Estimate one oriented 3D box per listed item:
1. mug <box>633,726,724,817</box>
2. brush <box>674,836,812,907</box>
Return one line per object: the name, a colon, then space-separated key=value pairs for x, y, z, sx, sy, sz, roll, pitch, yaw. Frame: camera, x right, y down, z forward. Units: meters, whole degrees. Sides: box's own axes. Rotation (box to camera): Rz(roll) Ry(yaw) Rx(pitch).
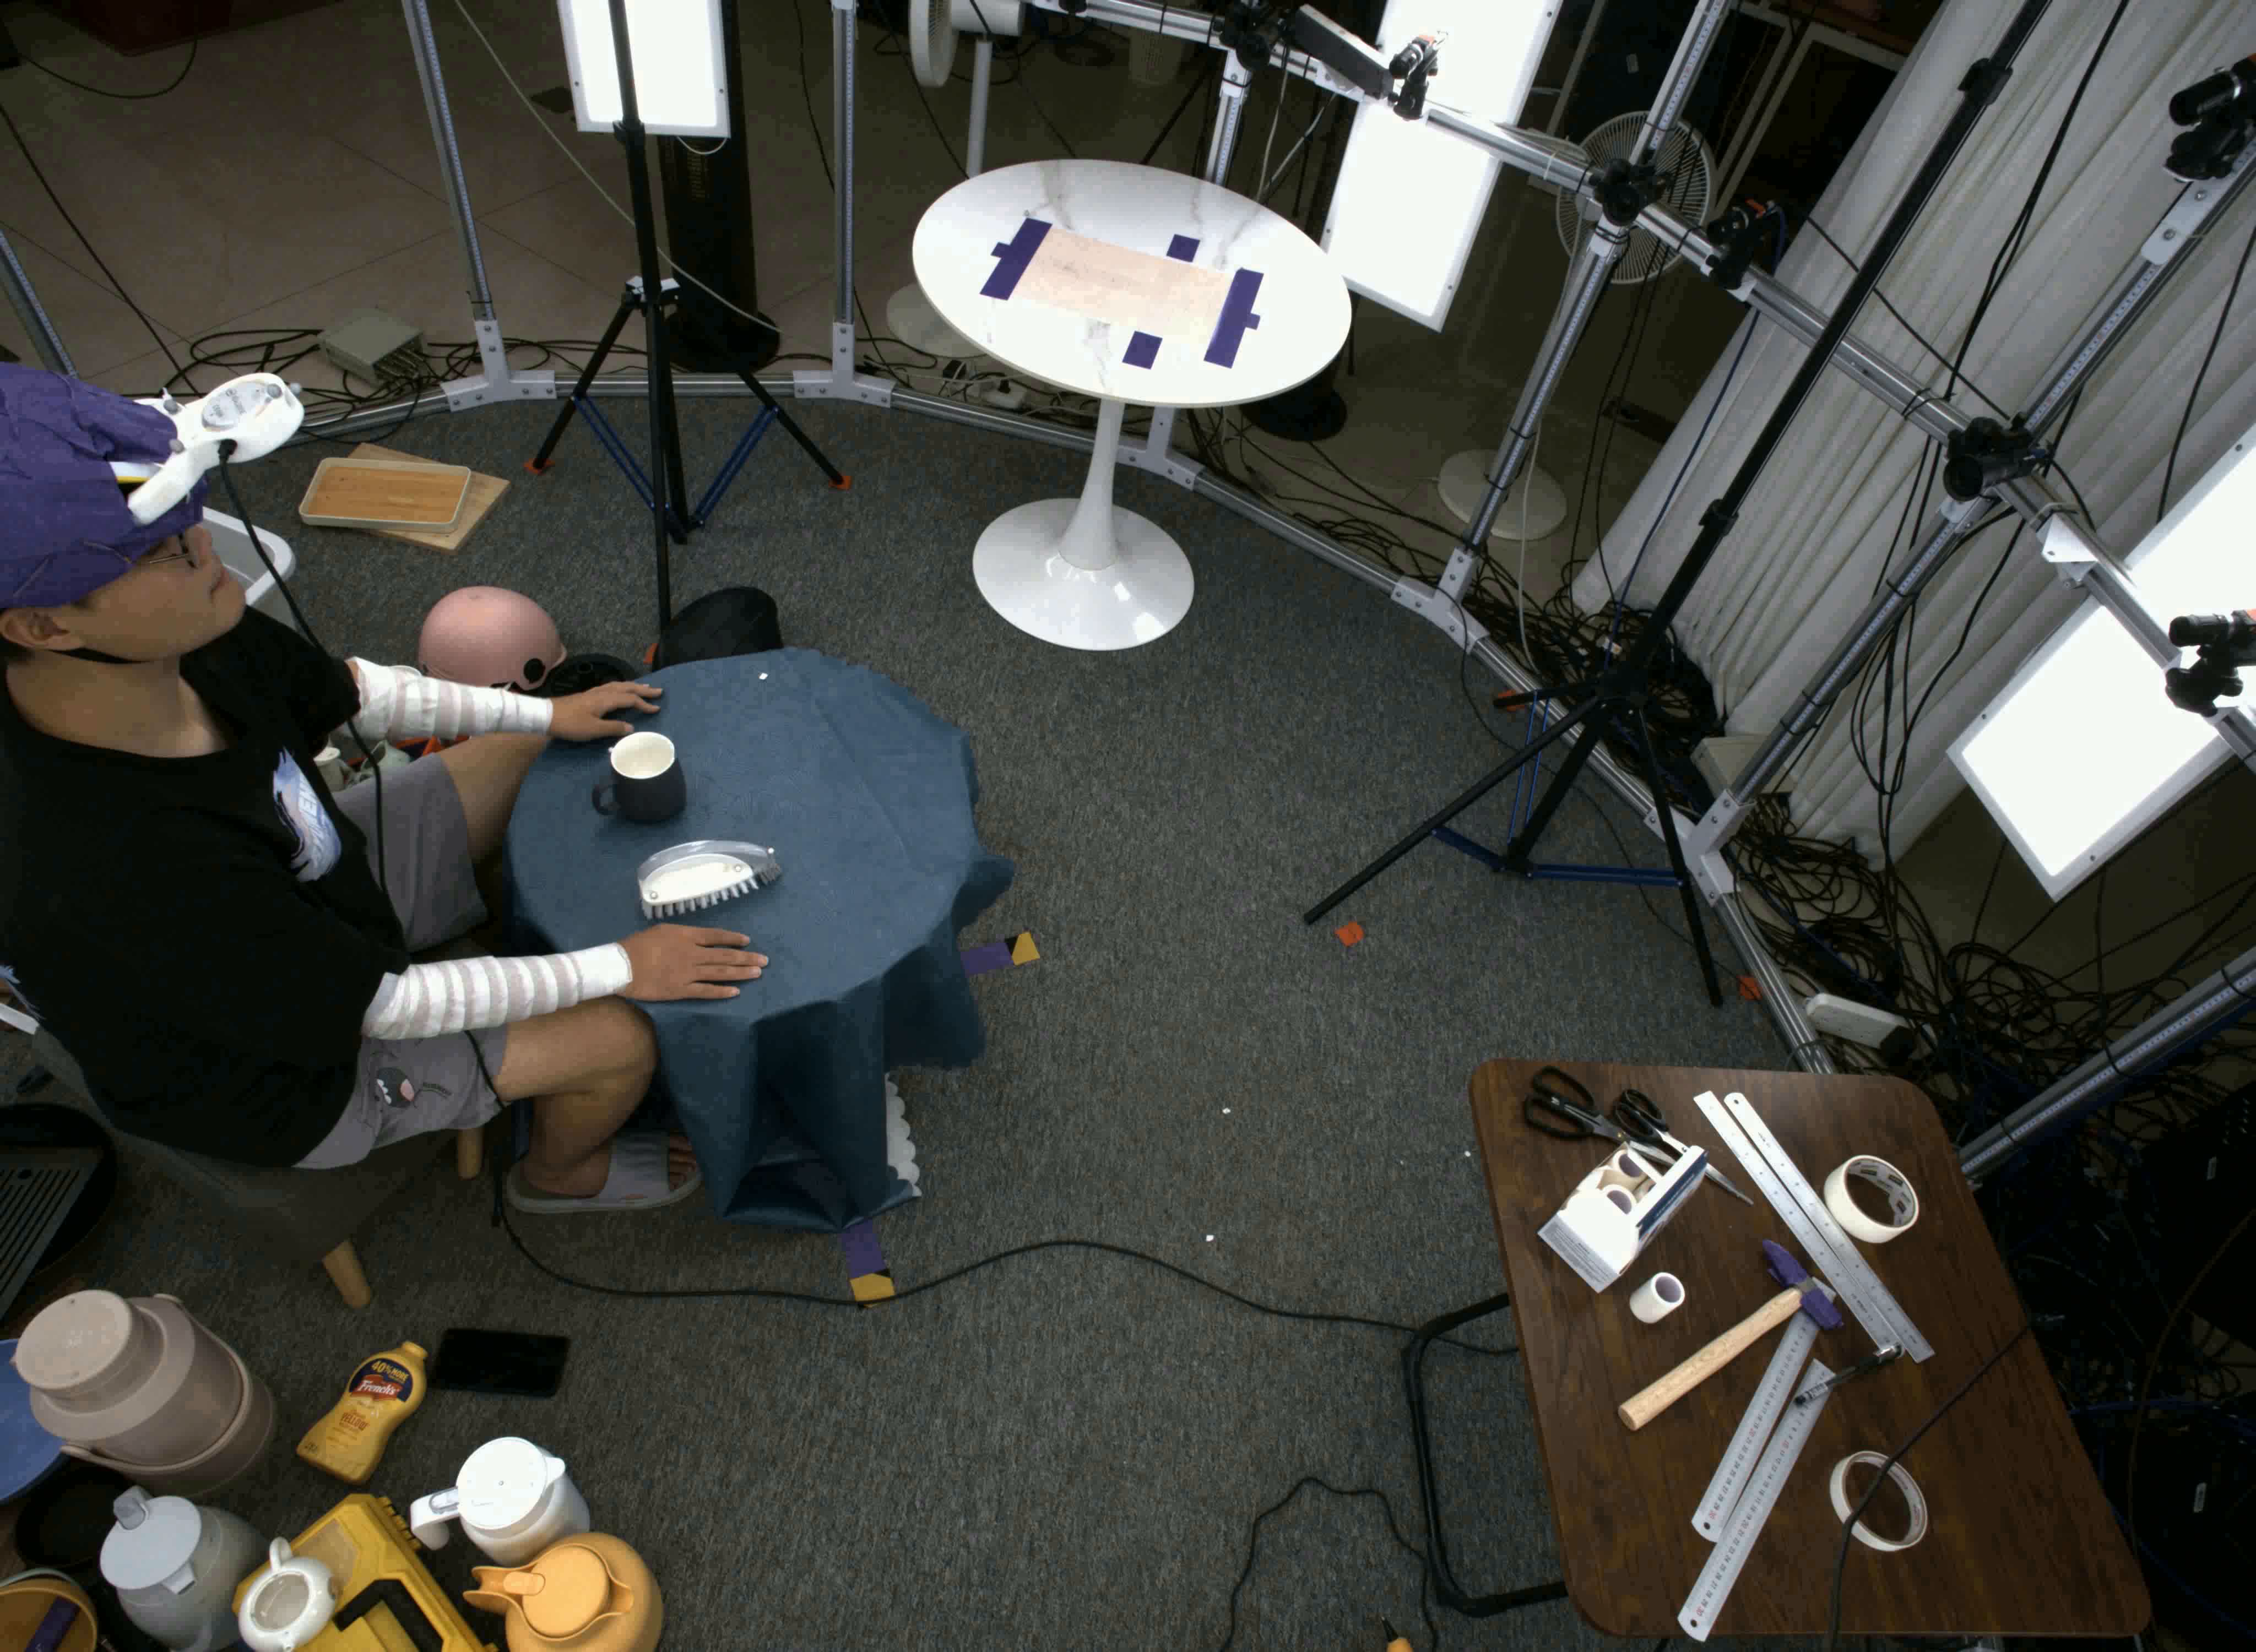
mug: x=-0.592 y=-0.066 z=1.684 sx=0.124 sy=0.092 sz=0.091 roll=-30 pitch=63 yaw=-30
brush: x=-0.486 y=0.043 z=1.629 sx=0.176 sy=0.096 sz=0.060 roll=-10 pitch=57 yaw=-22
